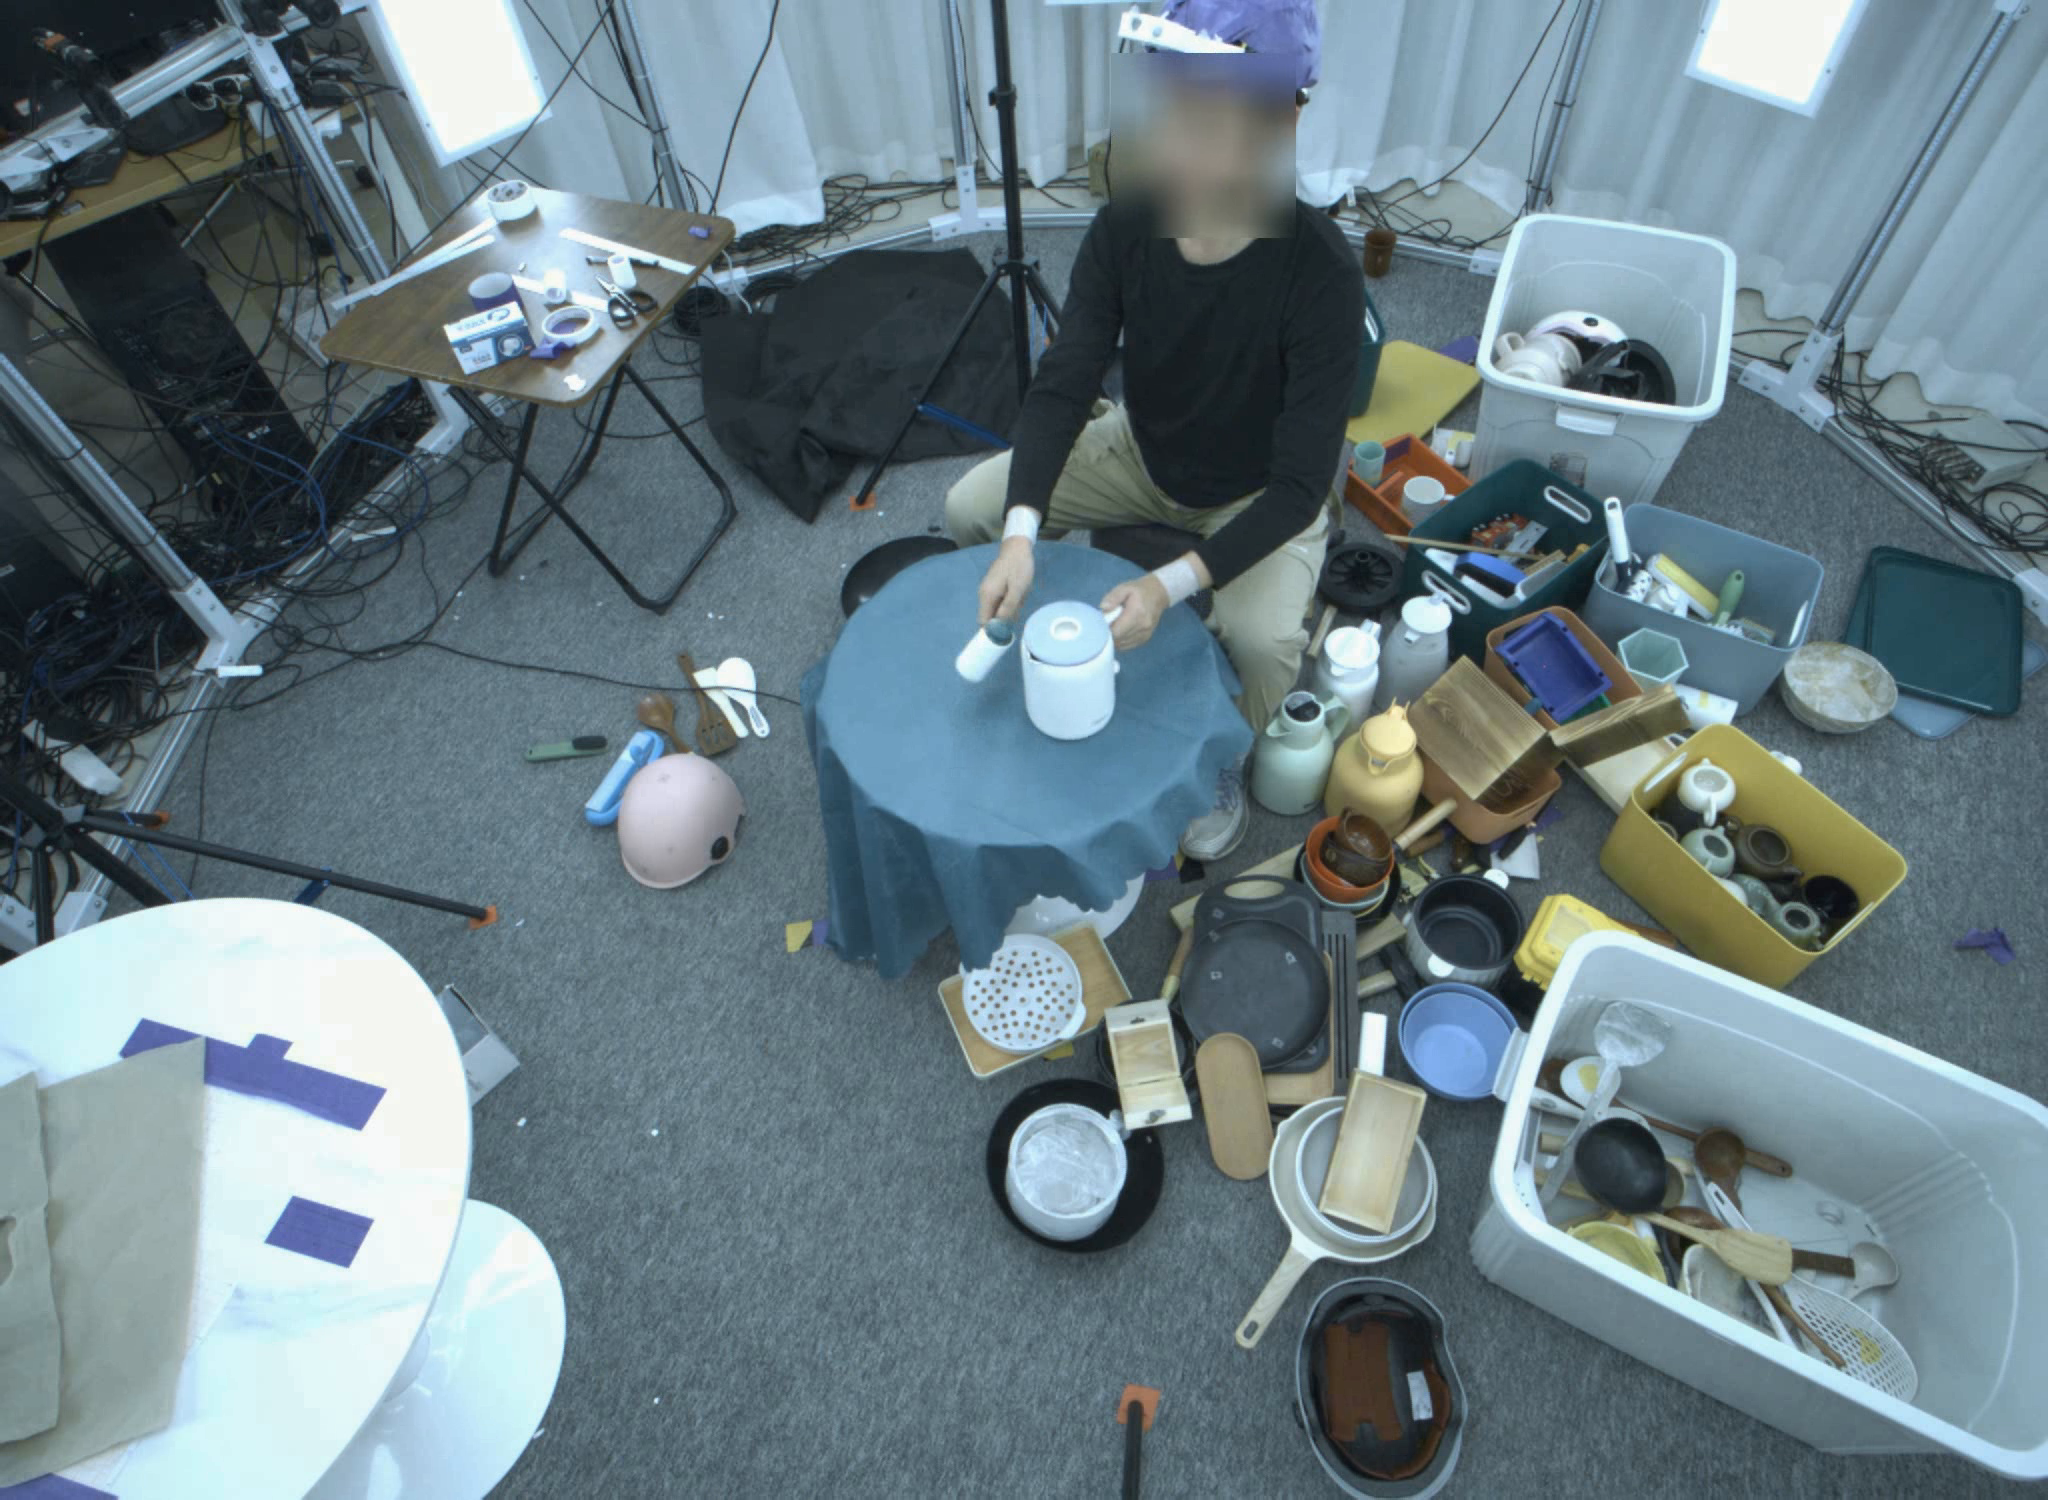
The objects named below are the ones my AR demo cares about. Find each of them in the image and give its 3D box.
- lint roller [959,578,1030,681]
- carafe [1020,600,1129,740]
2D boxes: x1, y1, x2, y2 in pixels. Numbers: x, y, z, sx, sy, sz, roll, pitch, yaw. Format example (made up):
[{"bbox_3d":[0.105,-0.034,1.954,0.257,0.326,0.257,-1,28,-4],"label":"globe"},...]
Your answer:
[{"bbox_3d":[-0.036,-0.195,1.790,0.049,0.133,0.179,25,55,-11],"label":"lint roller"},{"bbox_3d":[0.081,-0.127,1.769,0.192,0.184,0.130,-37,61,-23],"label":"carafe"}]
